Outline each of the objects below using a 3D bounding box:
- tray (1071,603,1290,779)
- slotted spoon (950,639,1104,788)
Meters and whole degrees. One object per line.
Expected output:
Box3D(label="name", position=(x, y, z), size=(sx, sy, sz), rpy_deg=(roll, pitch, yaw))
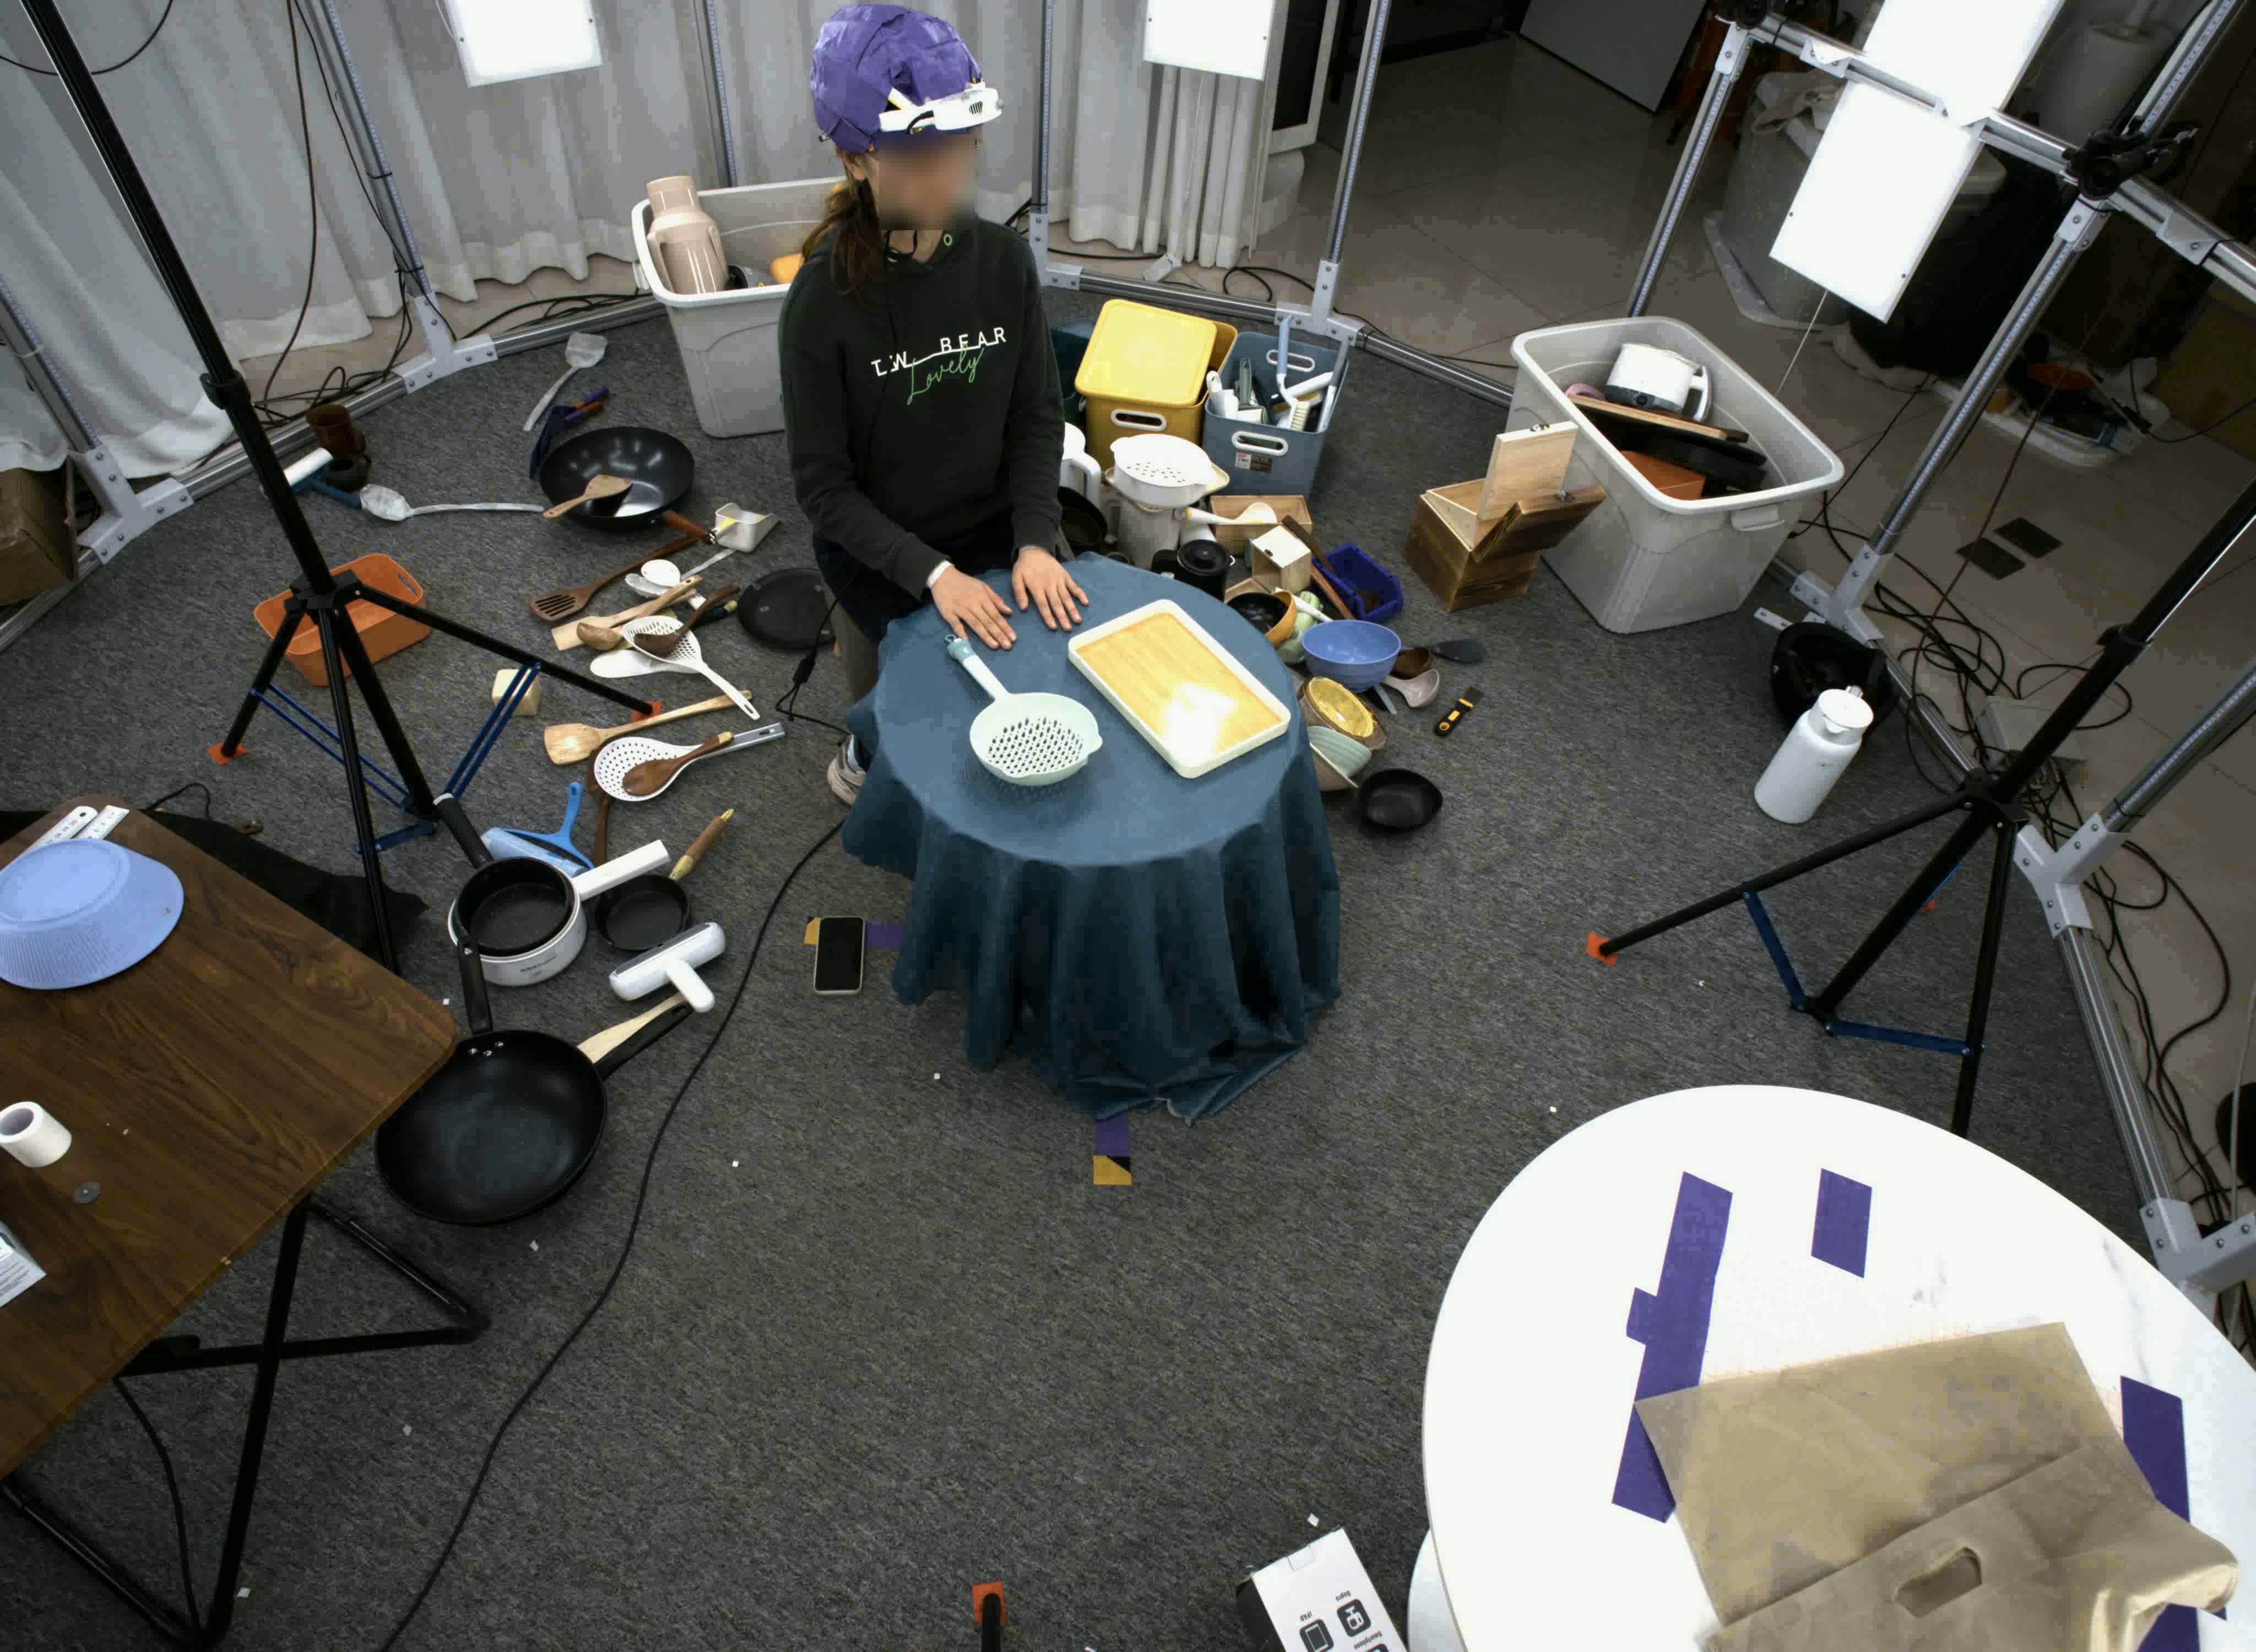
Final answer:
Box3D(label="tray", position=(0.072, -0.201, 1.847), size=(0.192, 0.027, 0.306), rpy_deg=(-26, 56, -24))
Box3D(label="slotted spoon", position=(-0.171, -0.172, 1.781), size=(0.170, 0.073, 0.366), rpy_deg=(-20, 53, -21))
